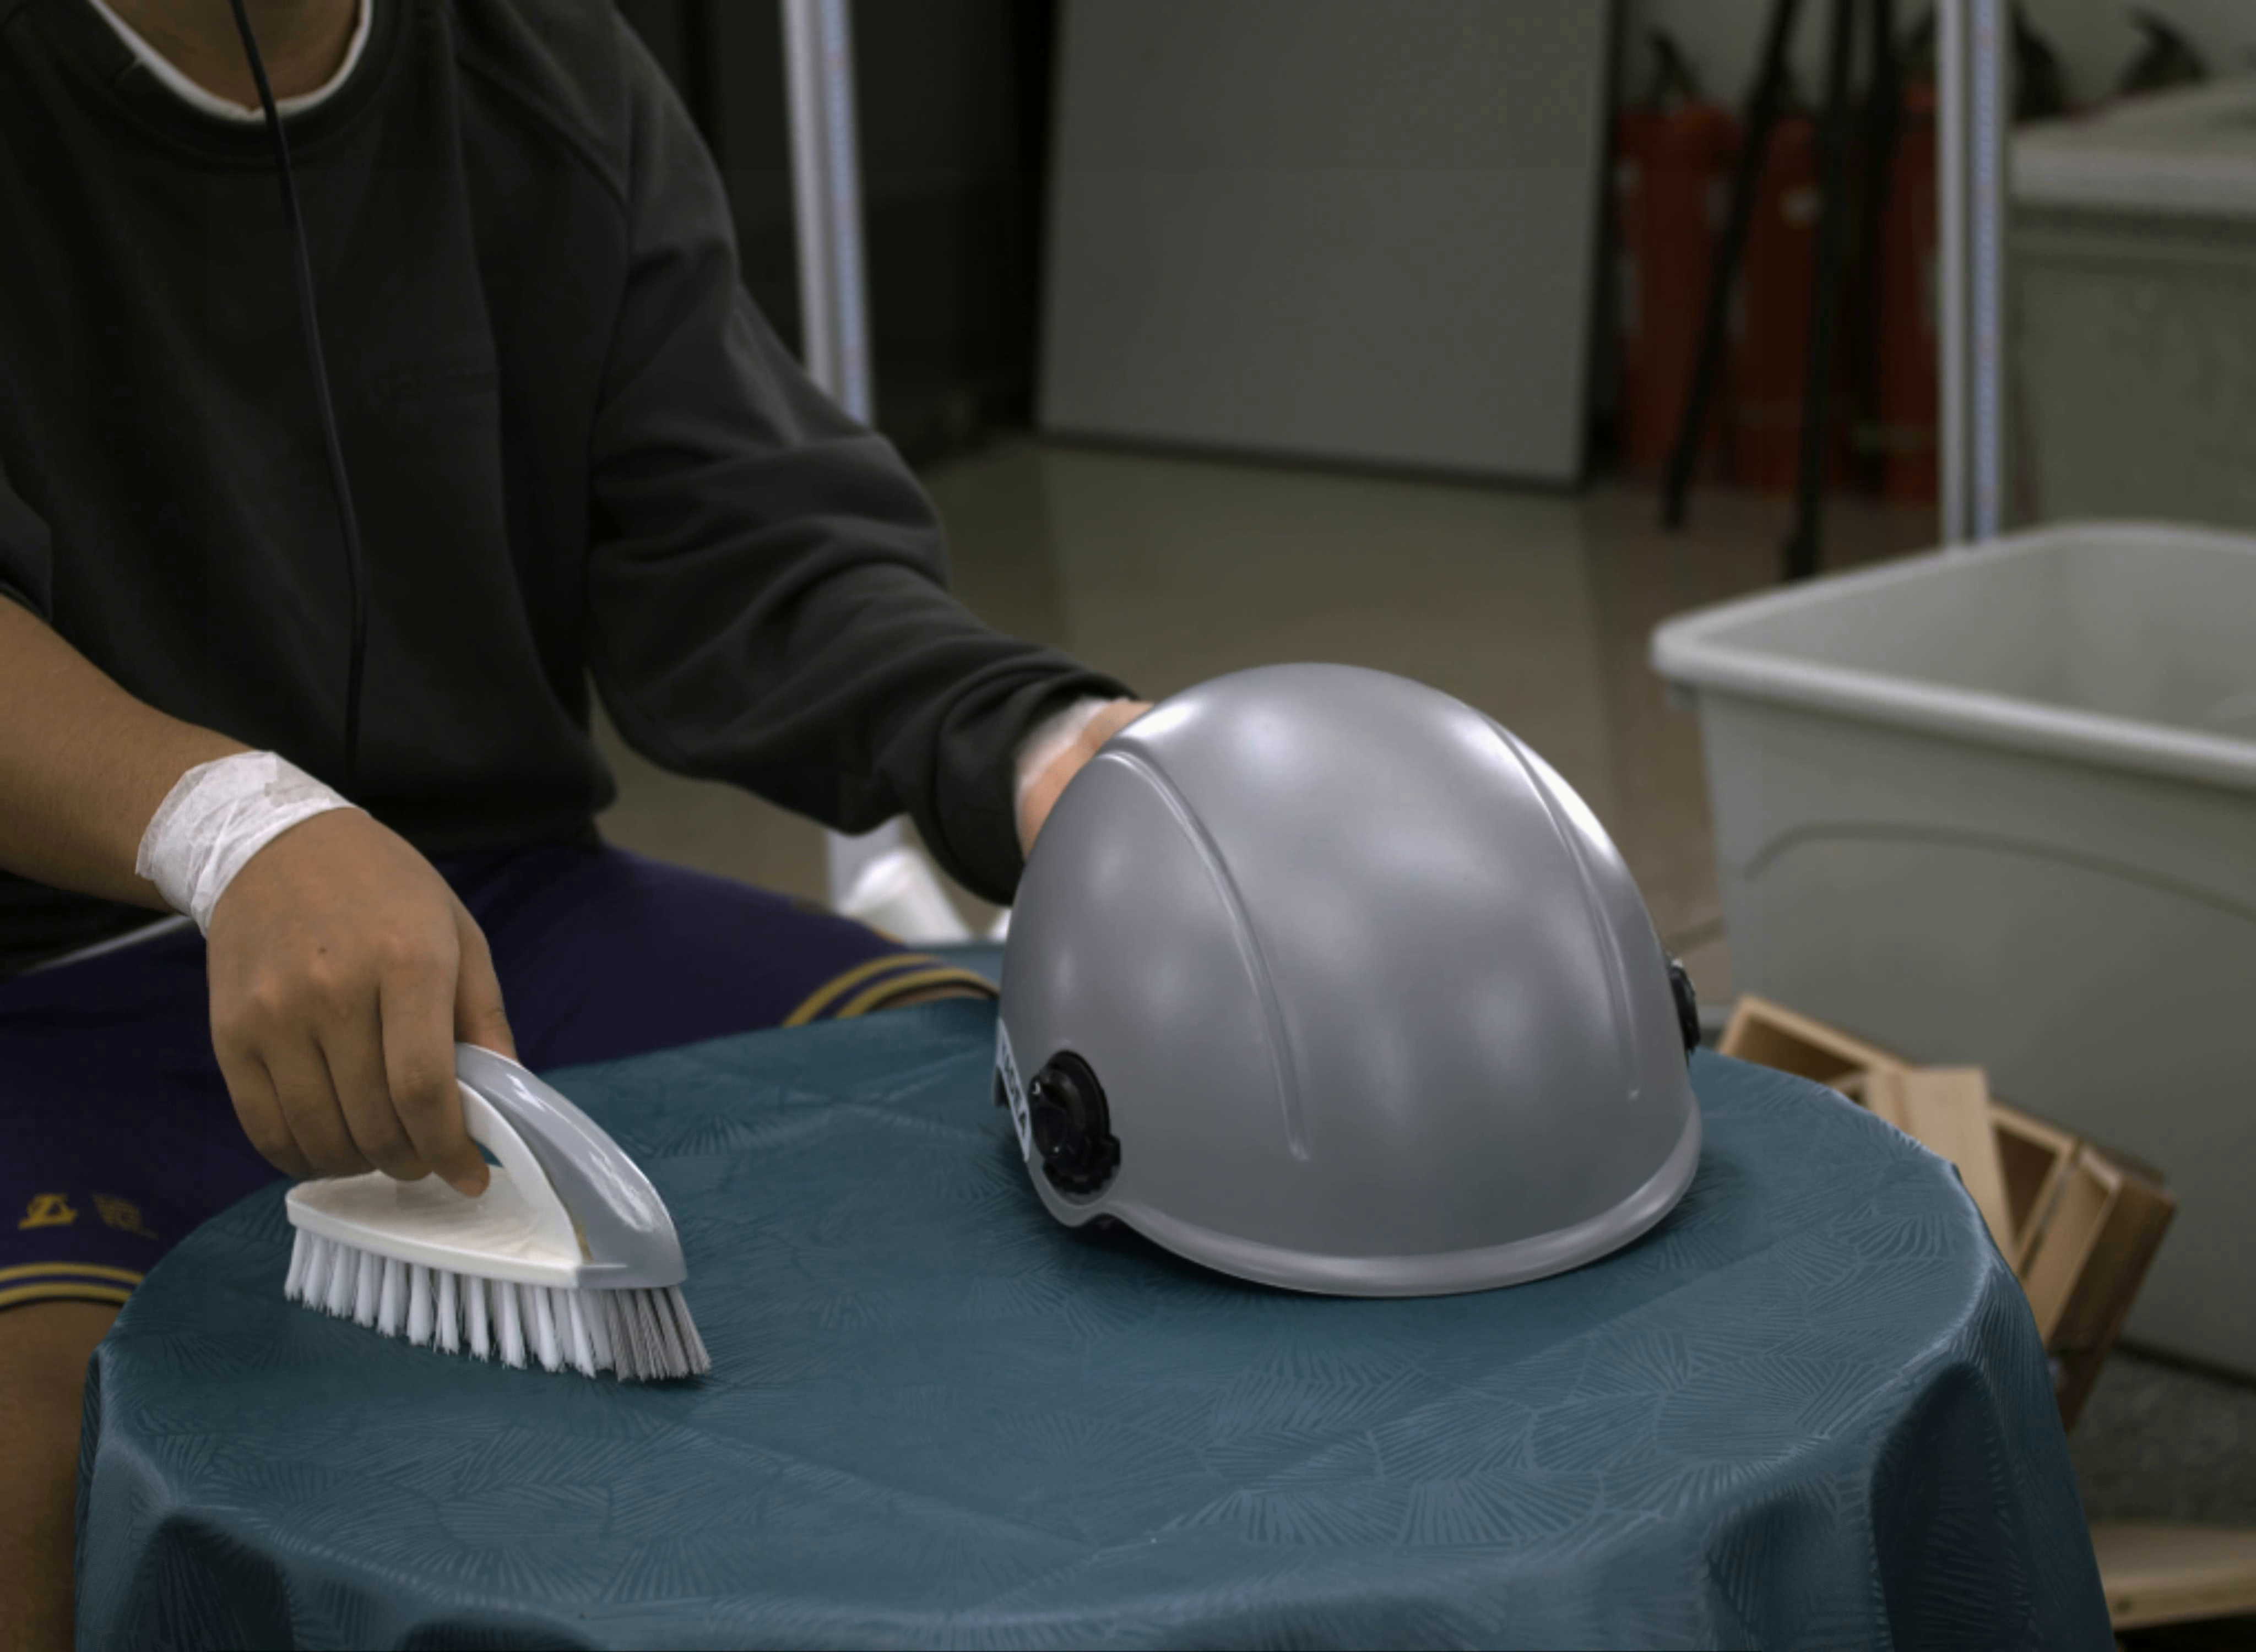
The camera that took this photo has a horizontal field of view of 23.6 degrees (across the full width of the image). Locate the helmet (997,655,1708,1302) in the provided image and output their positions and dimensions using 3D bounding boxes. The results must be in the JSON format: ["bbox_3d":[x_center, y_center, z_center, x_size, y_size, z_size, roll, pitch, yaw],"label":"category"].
[{"bbox_3d":[0.068,0.035,1.755,0.227,0.170,0.279,-10,17,-17],"label":"helmet"}]

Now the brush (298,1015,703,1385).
[{"bbox_3d":[-0.190,0.111,1.665,0.060,0.095,0.177,-19,23,-39],"label":"brush"}]
